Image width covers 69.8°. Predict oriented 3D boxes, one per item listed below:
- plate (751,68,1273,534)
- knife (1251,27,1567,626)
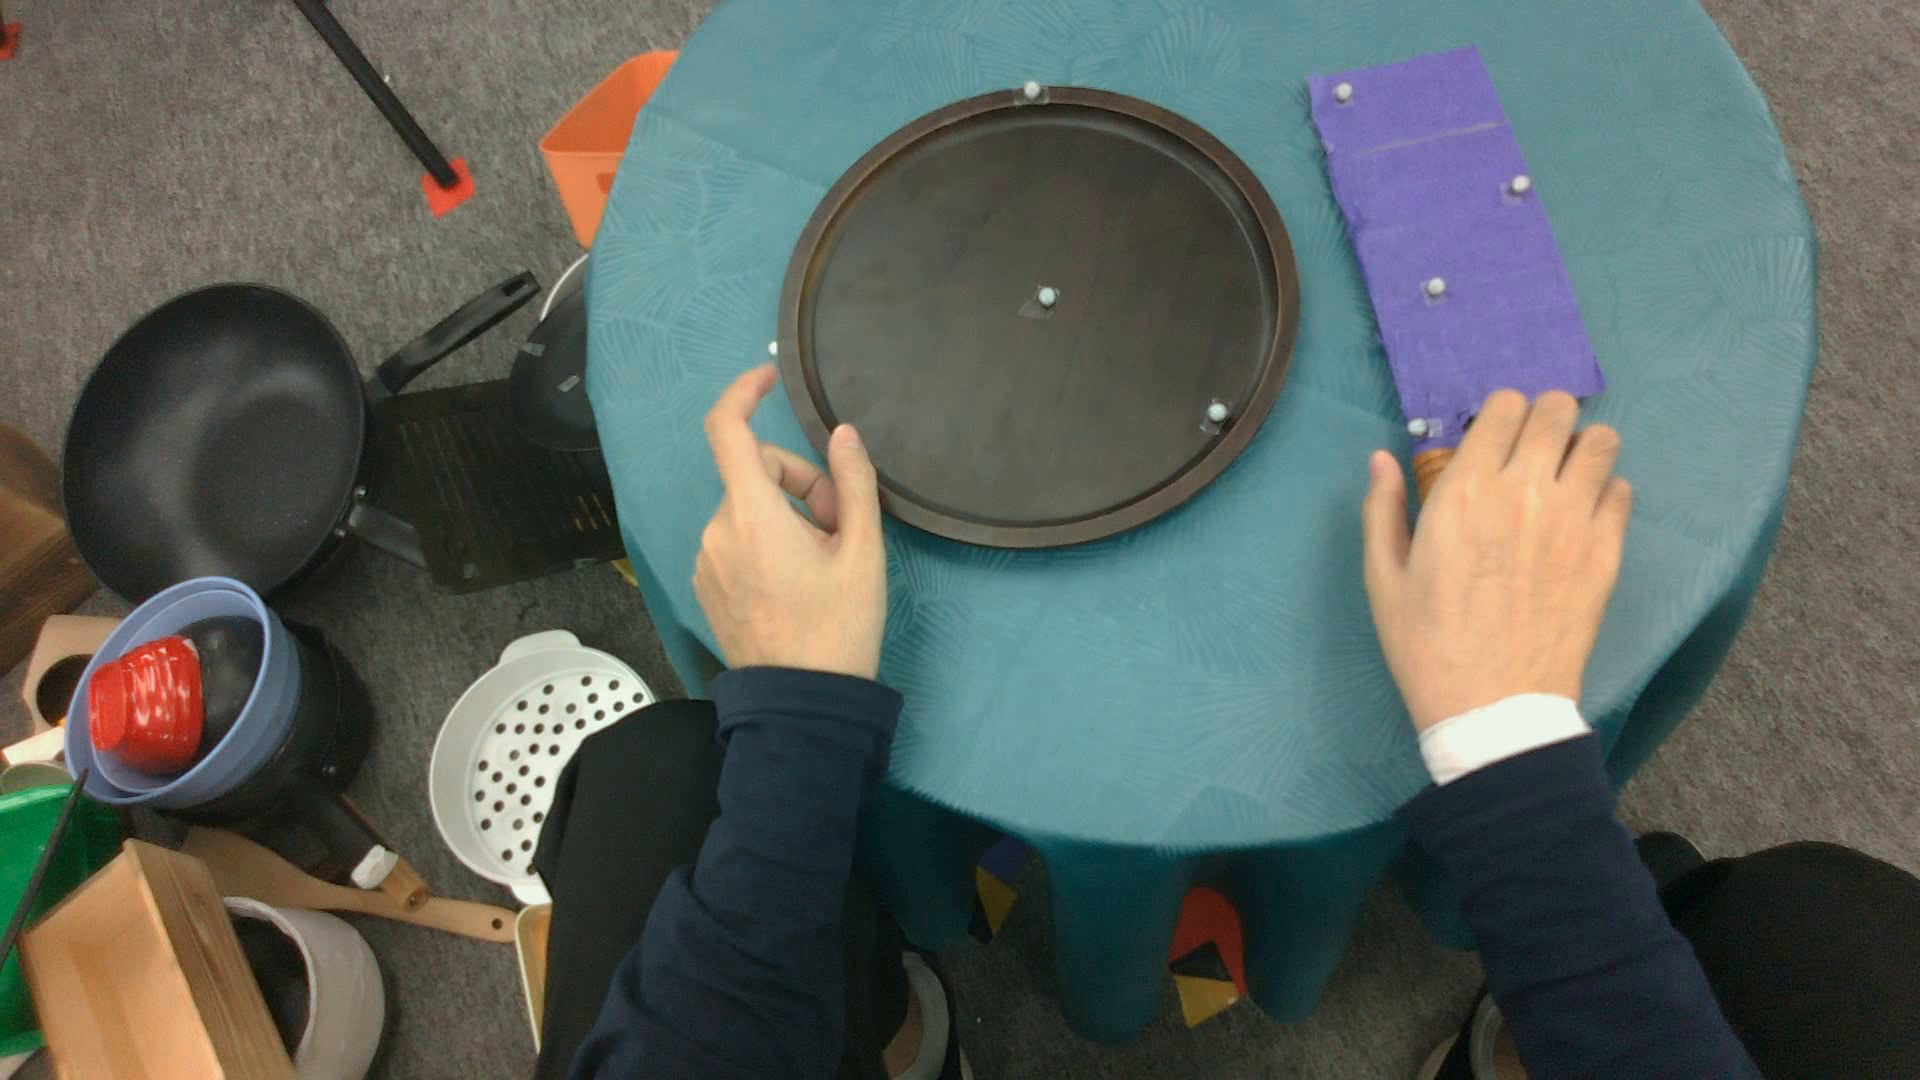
[{"bbox_3d":[0.024,-0.120,0.672,0.254,0.029,0.255,-2,68,6],"label":"plate"},{"bbox_3d":[0.225,-0.117,0.644,0.104,0.032,0.316,-12,68,3],"label":"knife"}]
